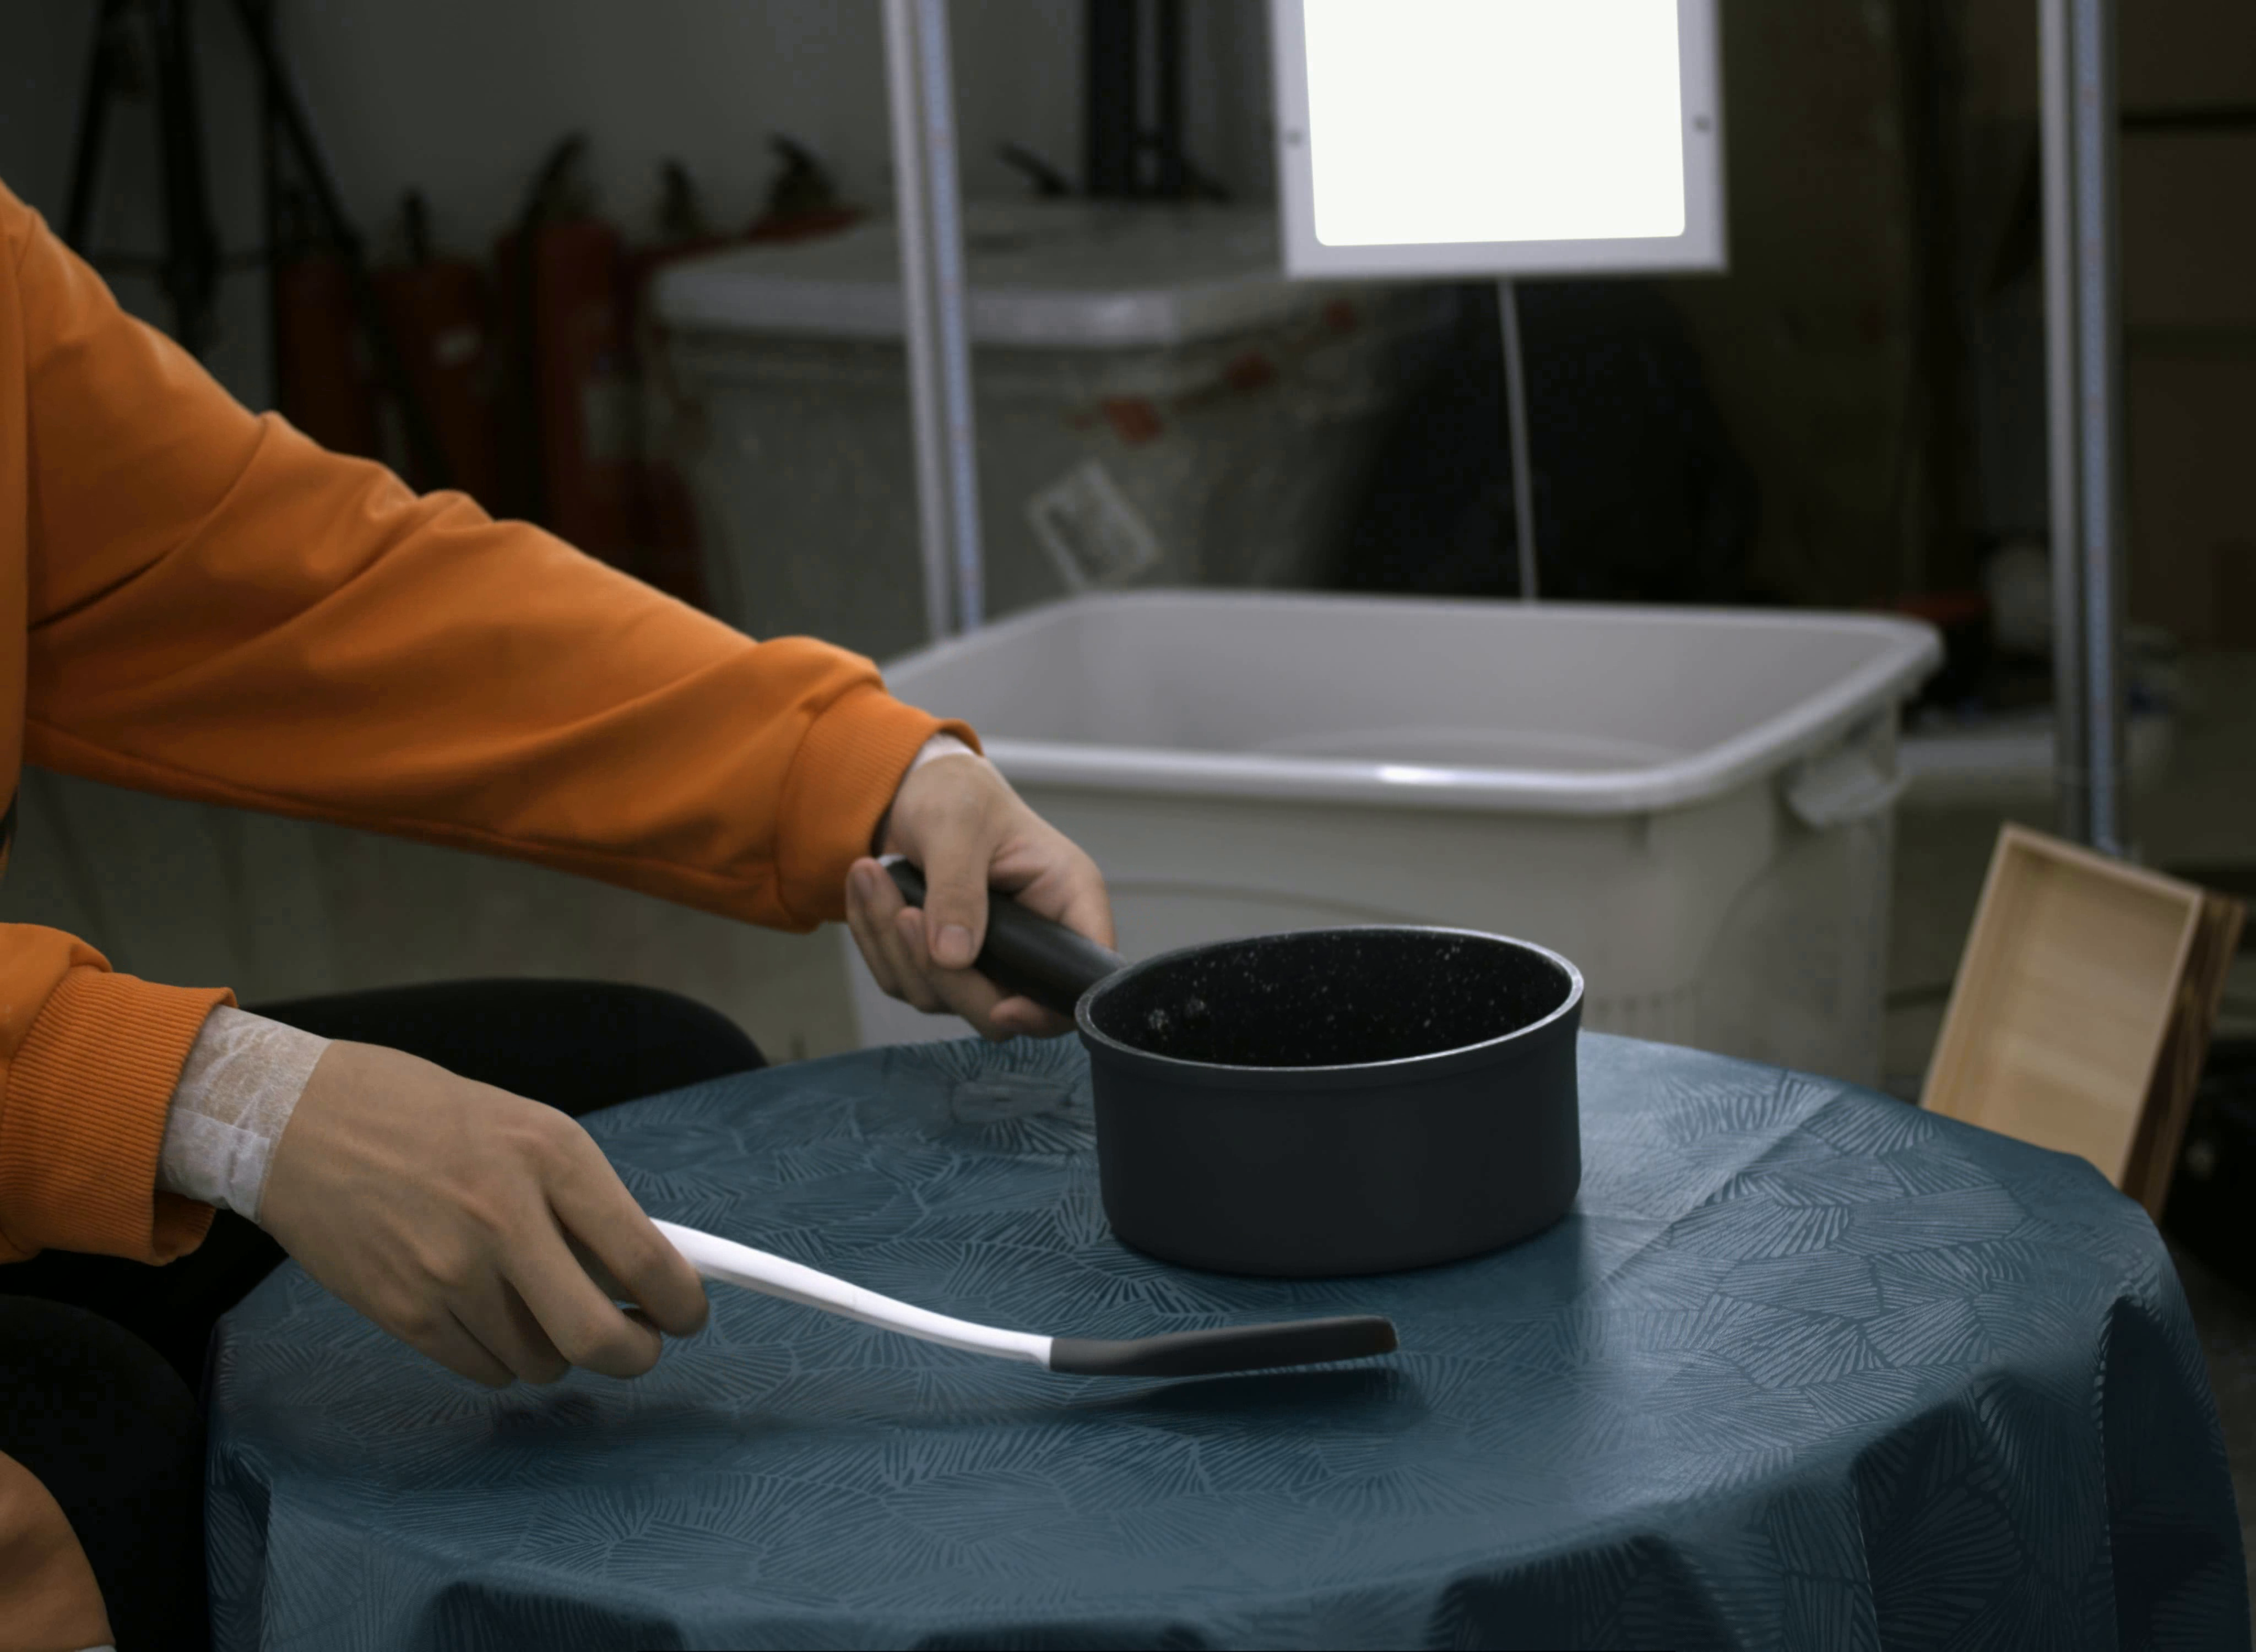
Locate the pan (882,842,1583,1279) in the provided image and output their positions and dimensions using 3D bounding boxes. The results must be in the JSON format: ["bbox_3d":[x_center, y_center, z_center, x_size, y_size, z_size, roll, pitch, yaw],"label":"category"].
[{"bbox_3d":[0.021,0.077,1.914,0.168,0.087,0.335,-14,18,-35],"label":"pan"}]

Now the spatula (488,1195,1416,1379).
[{"bbox_3d":[-0.054,0.147,1.696,0.289,0.032,0.058,7,-19,9],"label":"spatula"}]
